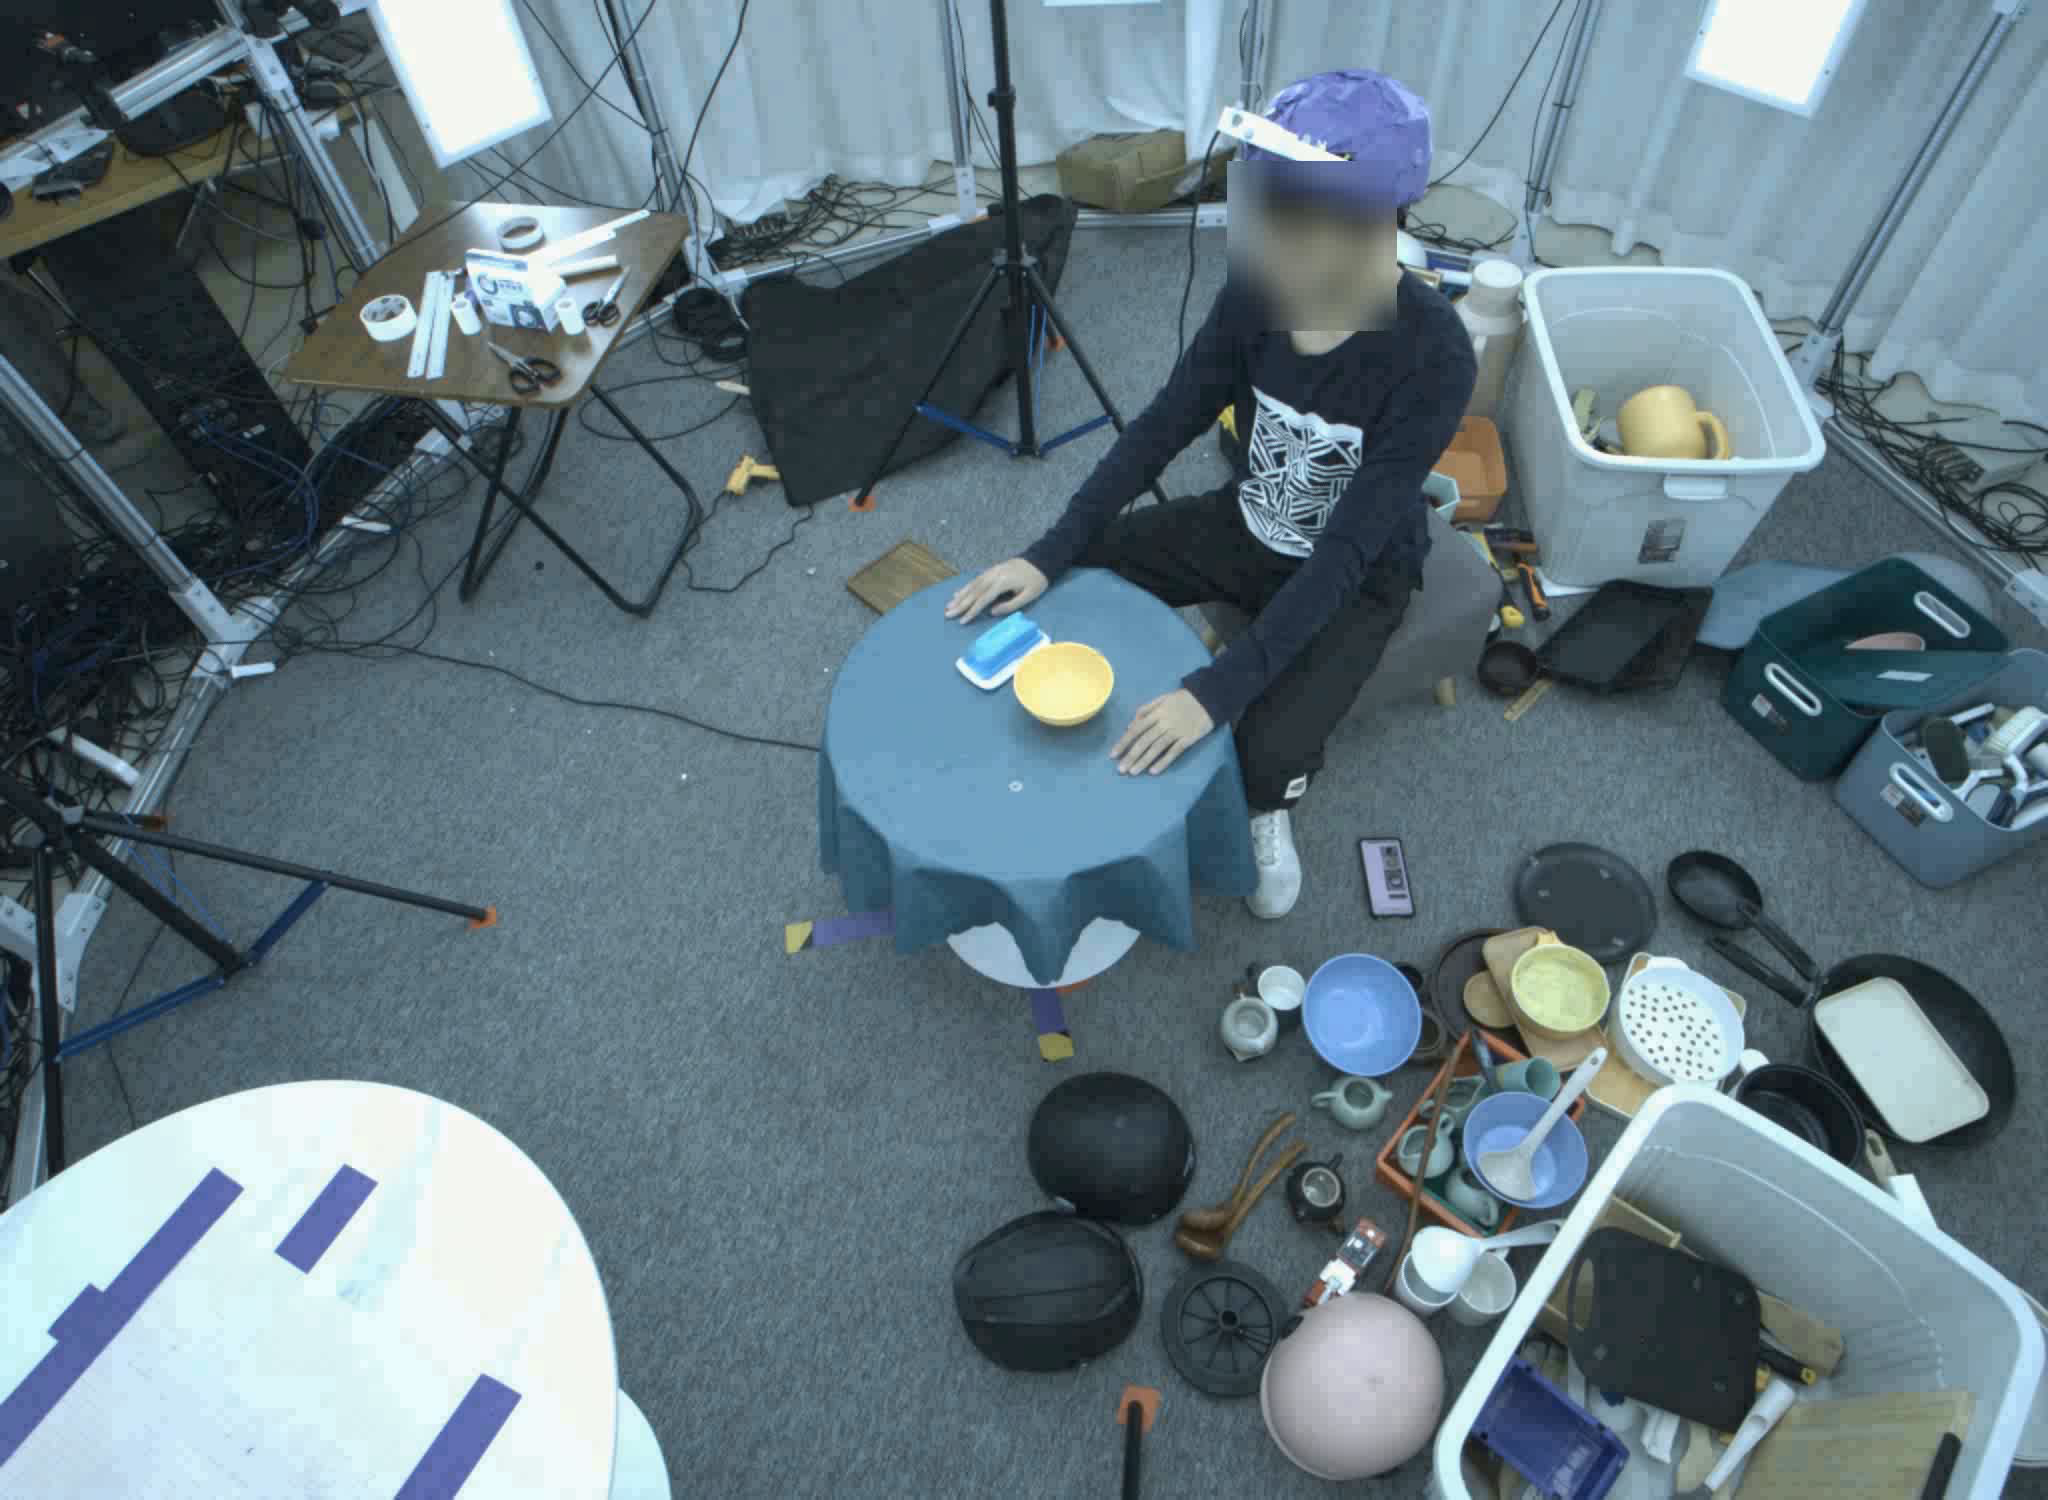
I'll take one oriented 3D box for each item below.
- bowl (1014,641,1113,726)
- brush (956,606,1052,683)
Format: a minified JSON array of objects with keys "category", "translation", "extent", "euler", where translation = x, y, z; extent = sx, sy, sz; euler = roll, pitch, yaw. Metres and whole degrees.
[{"category":"bowl","translation":[0.060,-0.086,1.804],"extent":[0.145,0.061,0.144],"euler":[-1,56,3]},{"category":"brush","translation":[-0.030,-0.168,1.862],"extent":[0.145,0.056,0.082],"euler":[-38,65,-20]}]
